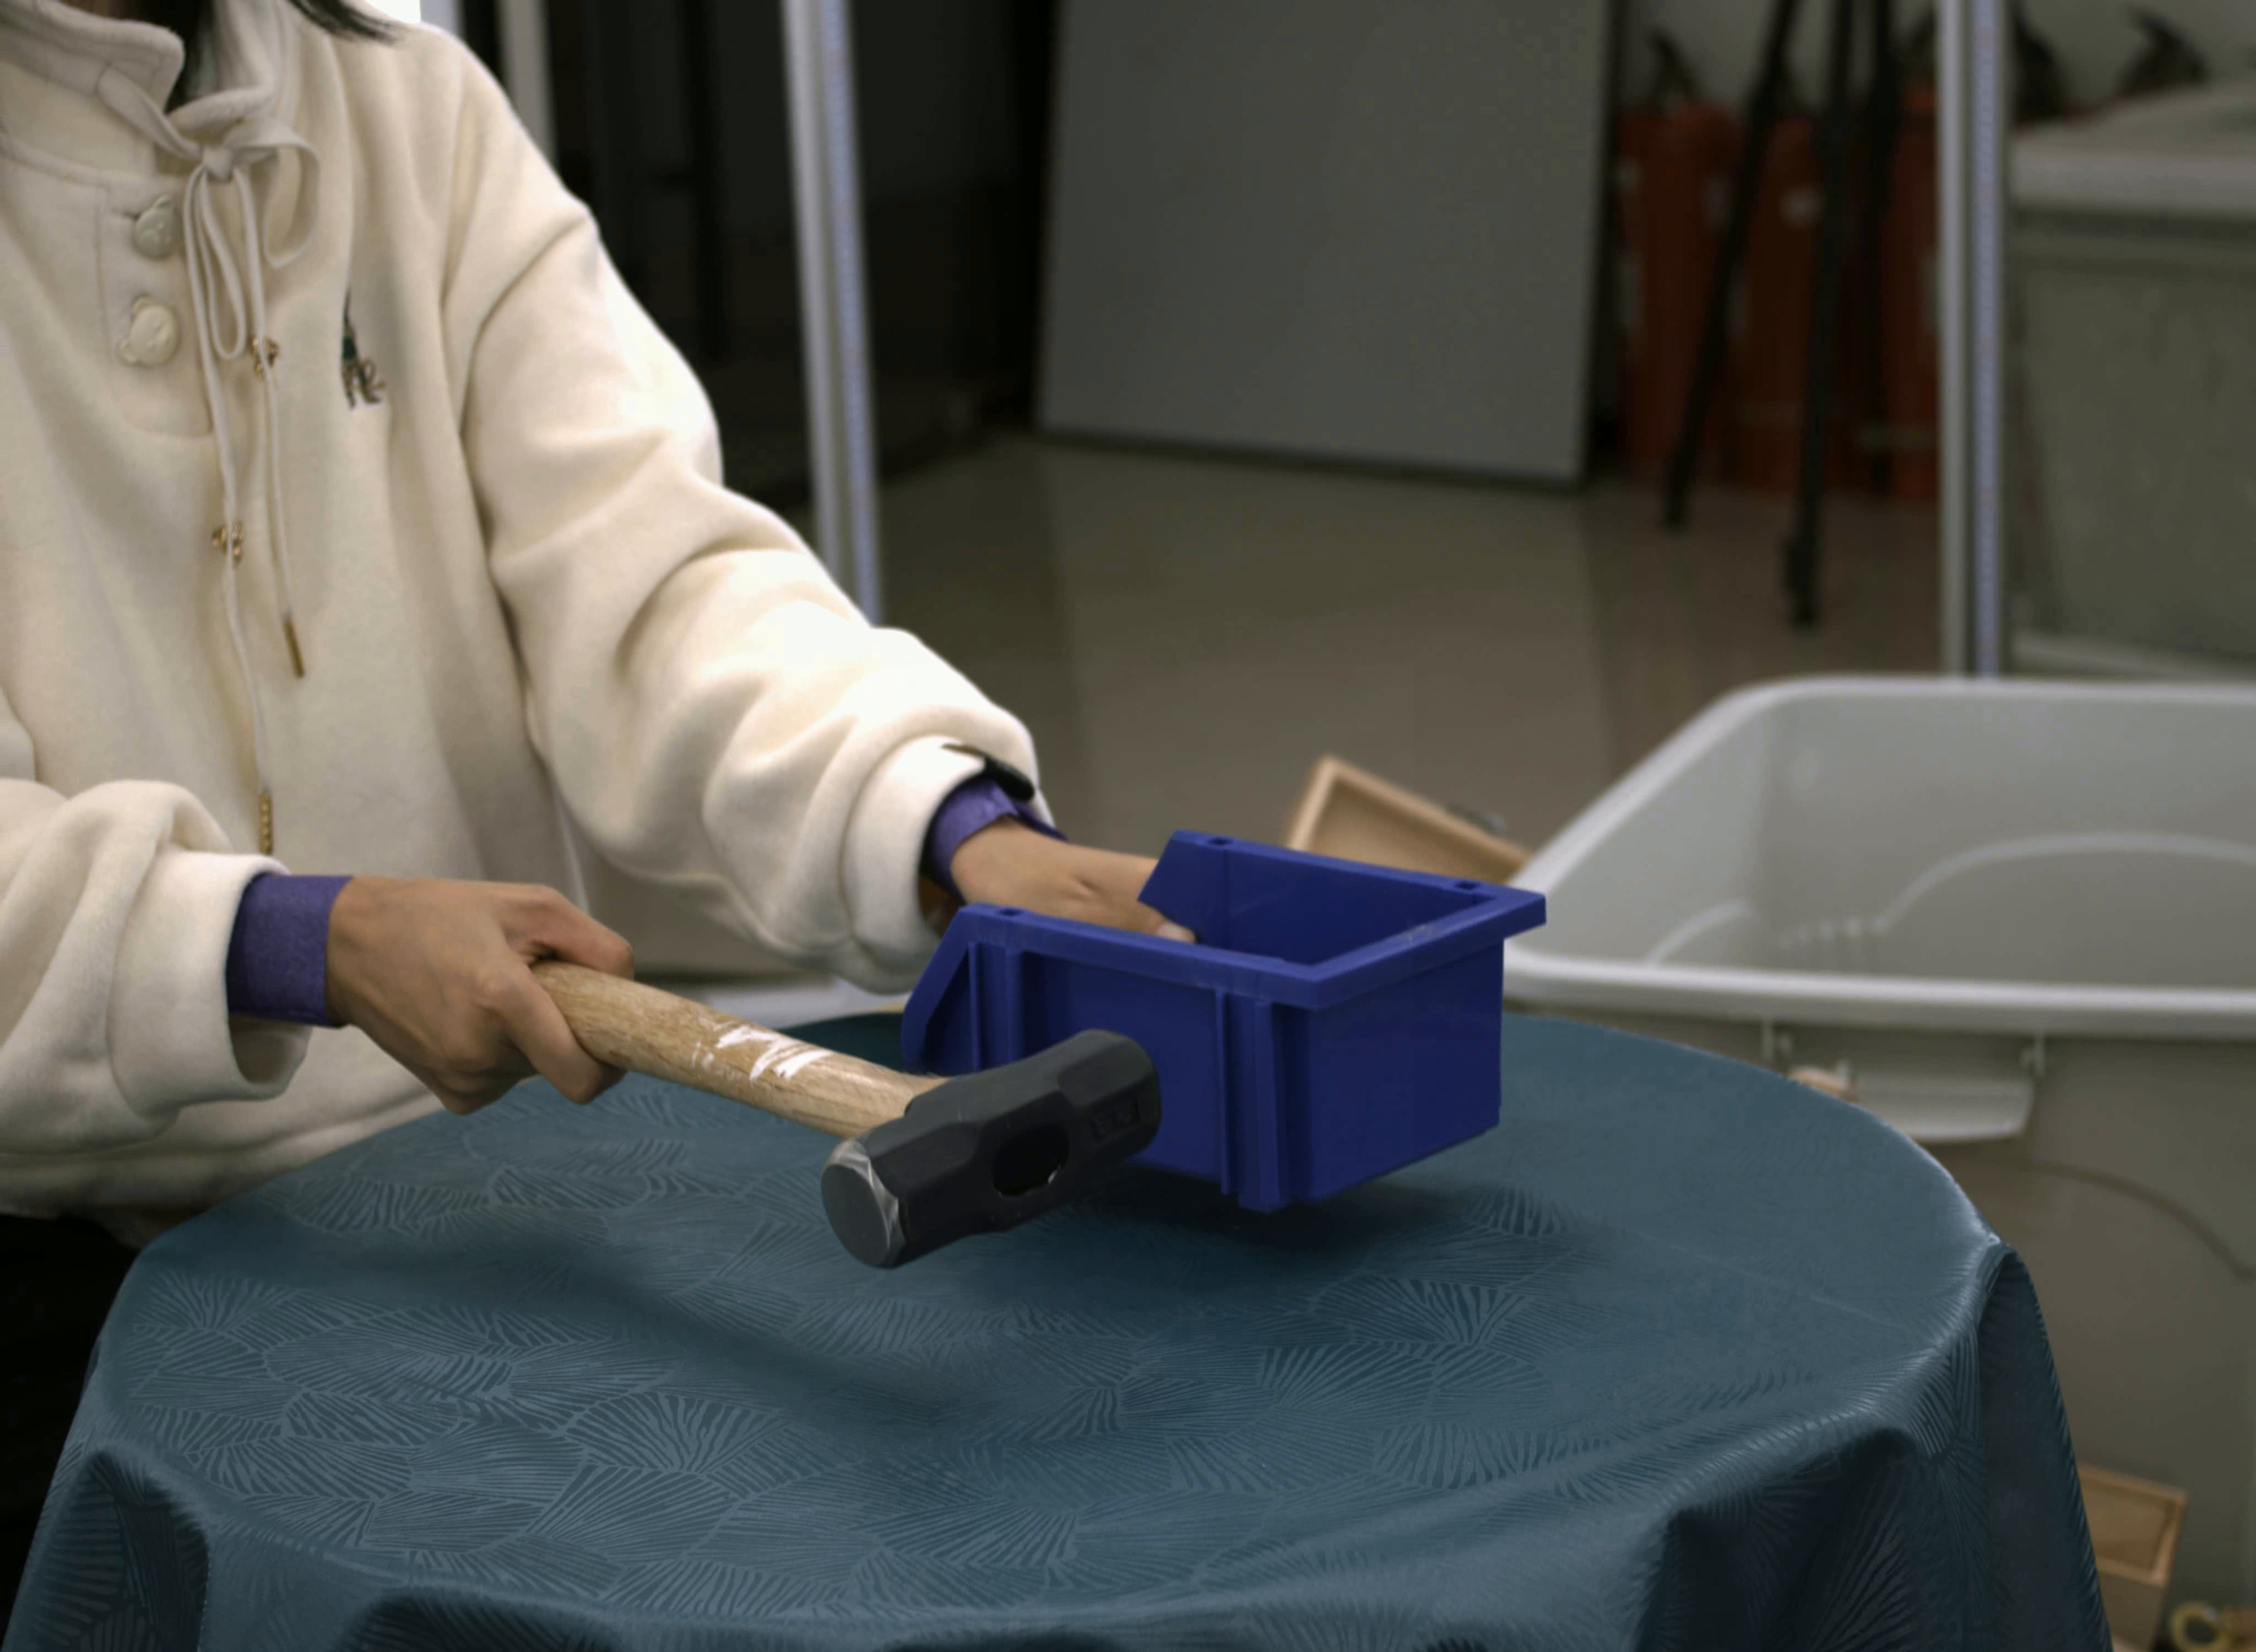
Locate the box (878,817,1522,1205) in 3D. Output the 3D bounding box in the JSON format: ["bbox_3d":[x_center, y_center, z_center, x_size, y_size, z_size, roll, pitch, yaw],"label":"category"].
[{"bbox_3d":[0.021,0.057,1.750,0.181,0.083,0.122,13,20,41],"label":"box"}]

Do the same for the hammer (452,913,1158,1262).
[{"bbox_3d":[-0.122,0.069,1.688,0.105,0.038,0.308,-23,23,-32],"label":"hammer"}]
